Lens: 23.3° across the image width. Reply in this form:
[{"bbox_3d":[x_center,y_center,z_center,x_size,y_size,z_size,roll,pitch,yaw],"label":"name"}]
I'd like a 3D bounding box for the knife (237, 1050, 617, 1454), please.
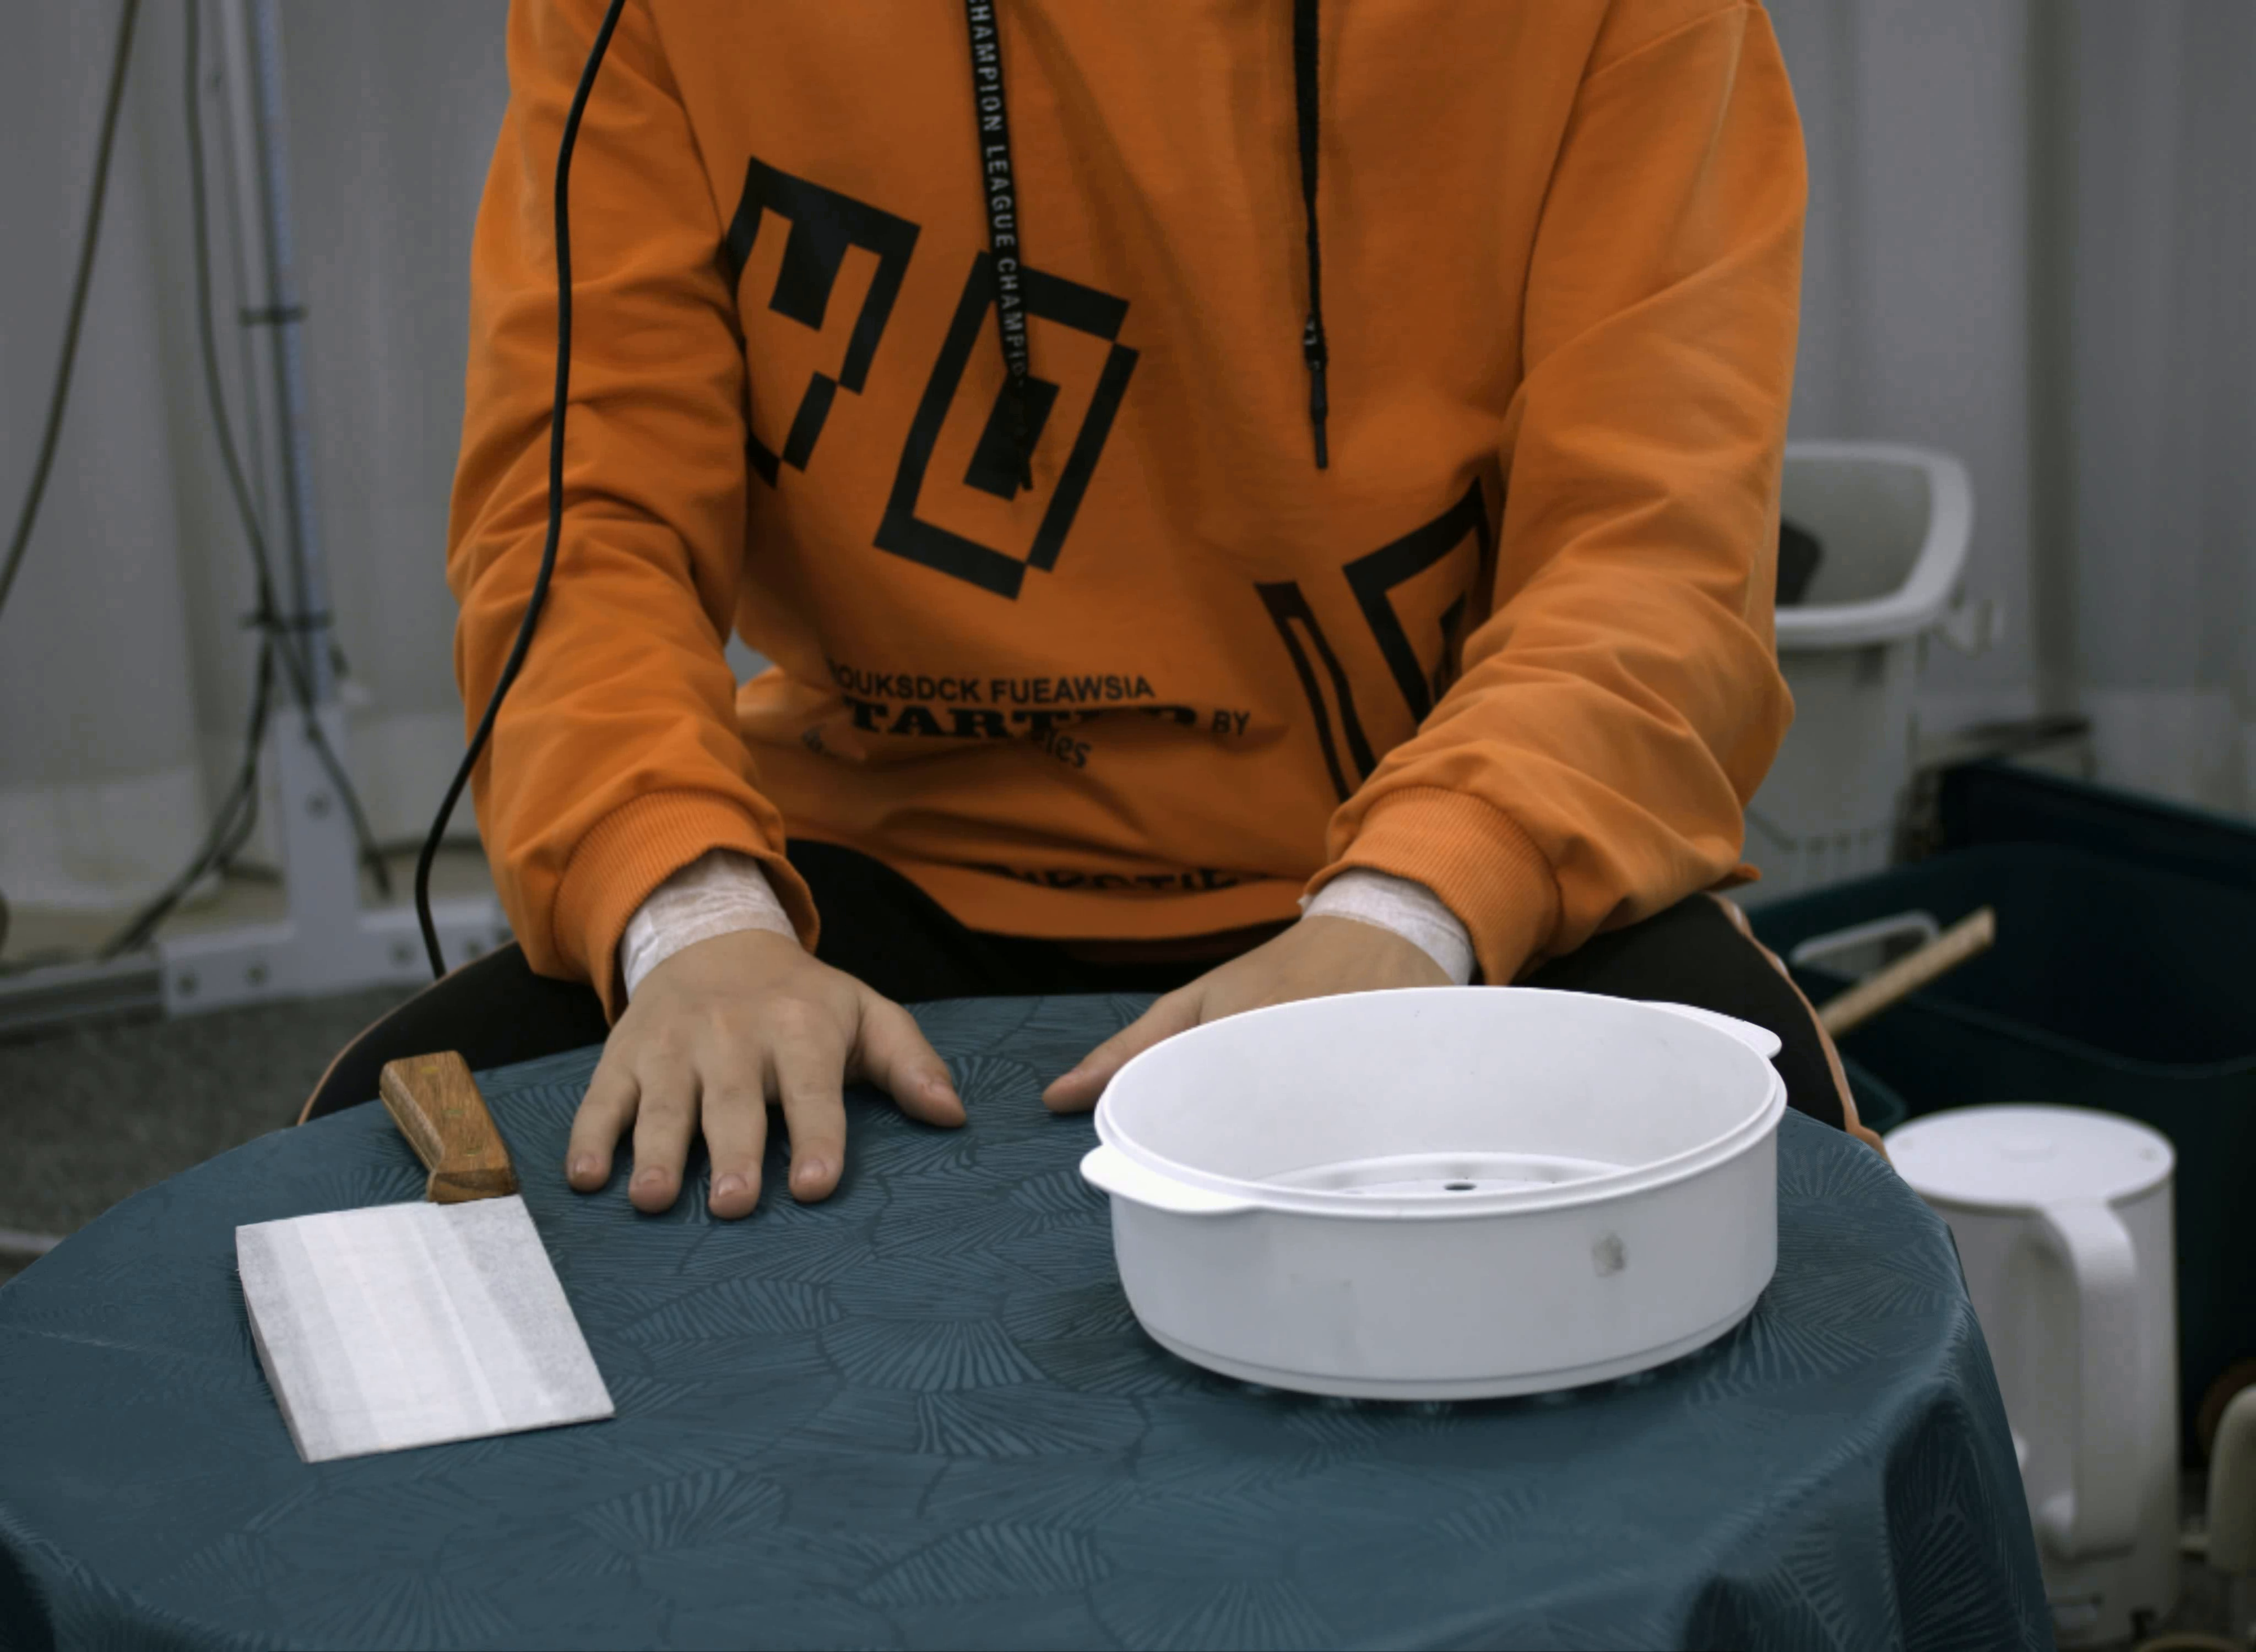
[{"bbox_3d":[-0.224,0.129,1.675,0.092,0.021,0.308,-8,18,-13],"label":"knife"}]

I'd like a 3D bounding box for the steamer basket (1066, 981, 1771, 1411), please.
[{"bbox_3d":[0.087,0.107,1.590,0.230,0.069,0.203,-16,19,-33],"label":"steamer basket"}]
